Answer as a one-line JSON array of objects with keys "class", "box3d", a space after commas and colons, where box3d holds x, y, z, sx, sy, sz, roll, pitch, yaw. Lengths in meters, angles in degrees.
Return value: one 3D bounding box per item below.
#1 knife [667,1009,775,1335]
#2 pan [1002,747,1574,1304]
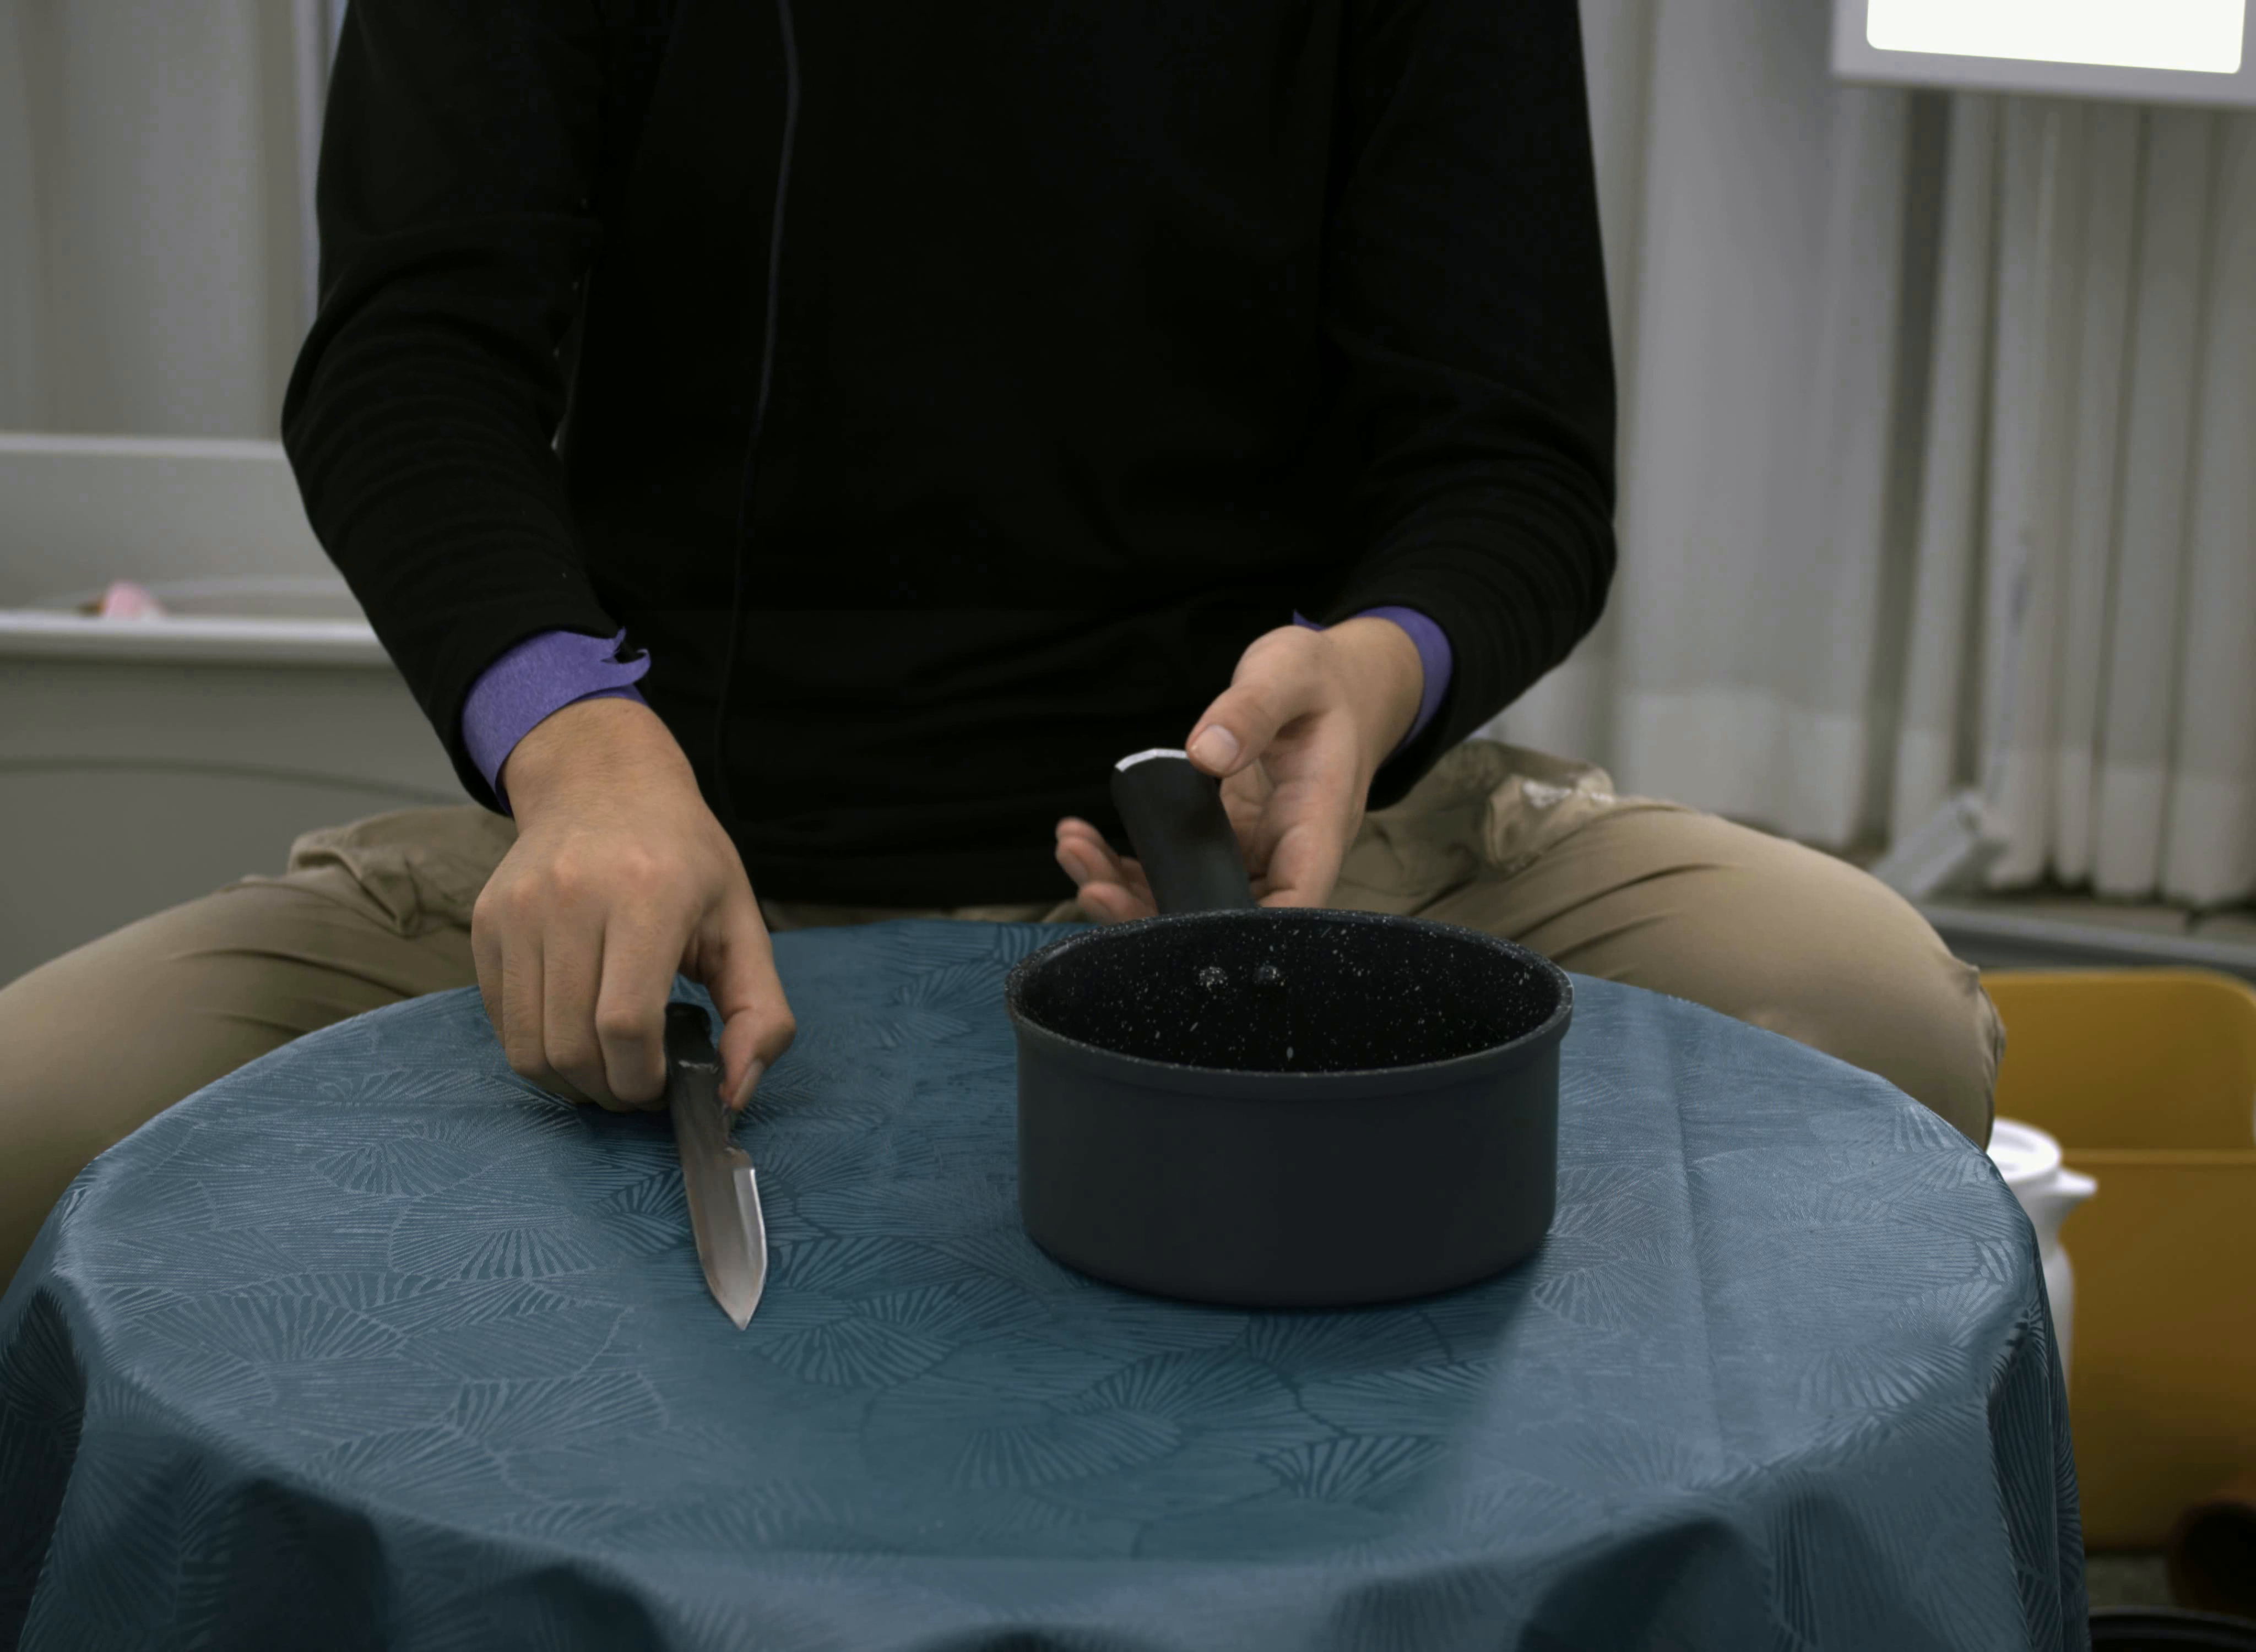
[{"class": "knife", "box3d": [-0.126, 0.105, 1.613, 0.024, 0.016, 0.236, -1, 20, -9]}, {"class": "pan", "box3d": [0.039, 0.059, 1.659, 0.172, 0.087, 0.326, -1, 16, -6]}]
